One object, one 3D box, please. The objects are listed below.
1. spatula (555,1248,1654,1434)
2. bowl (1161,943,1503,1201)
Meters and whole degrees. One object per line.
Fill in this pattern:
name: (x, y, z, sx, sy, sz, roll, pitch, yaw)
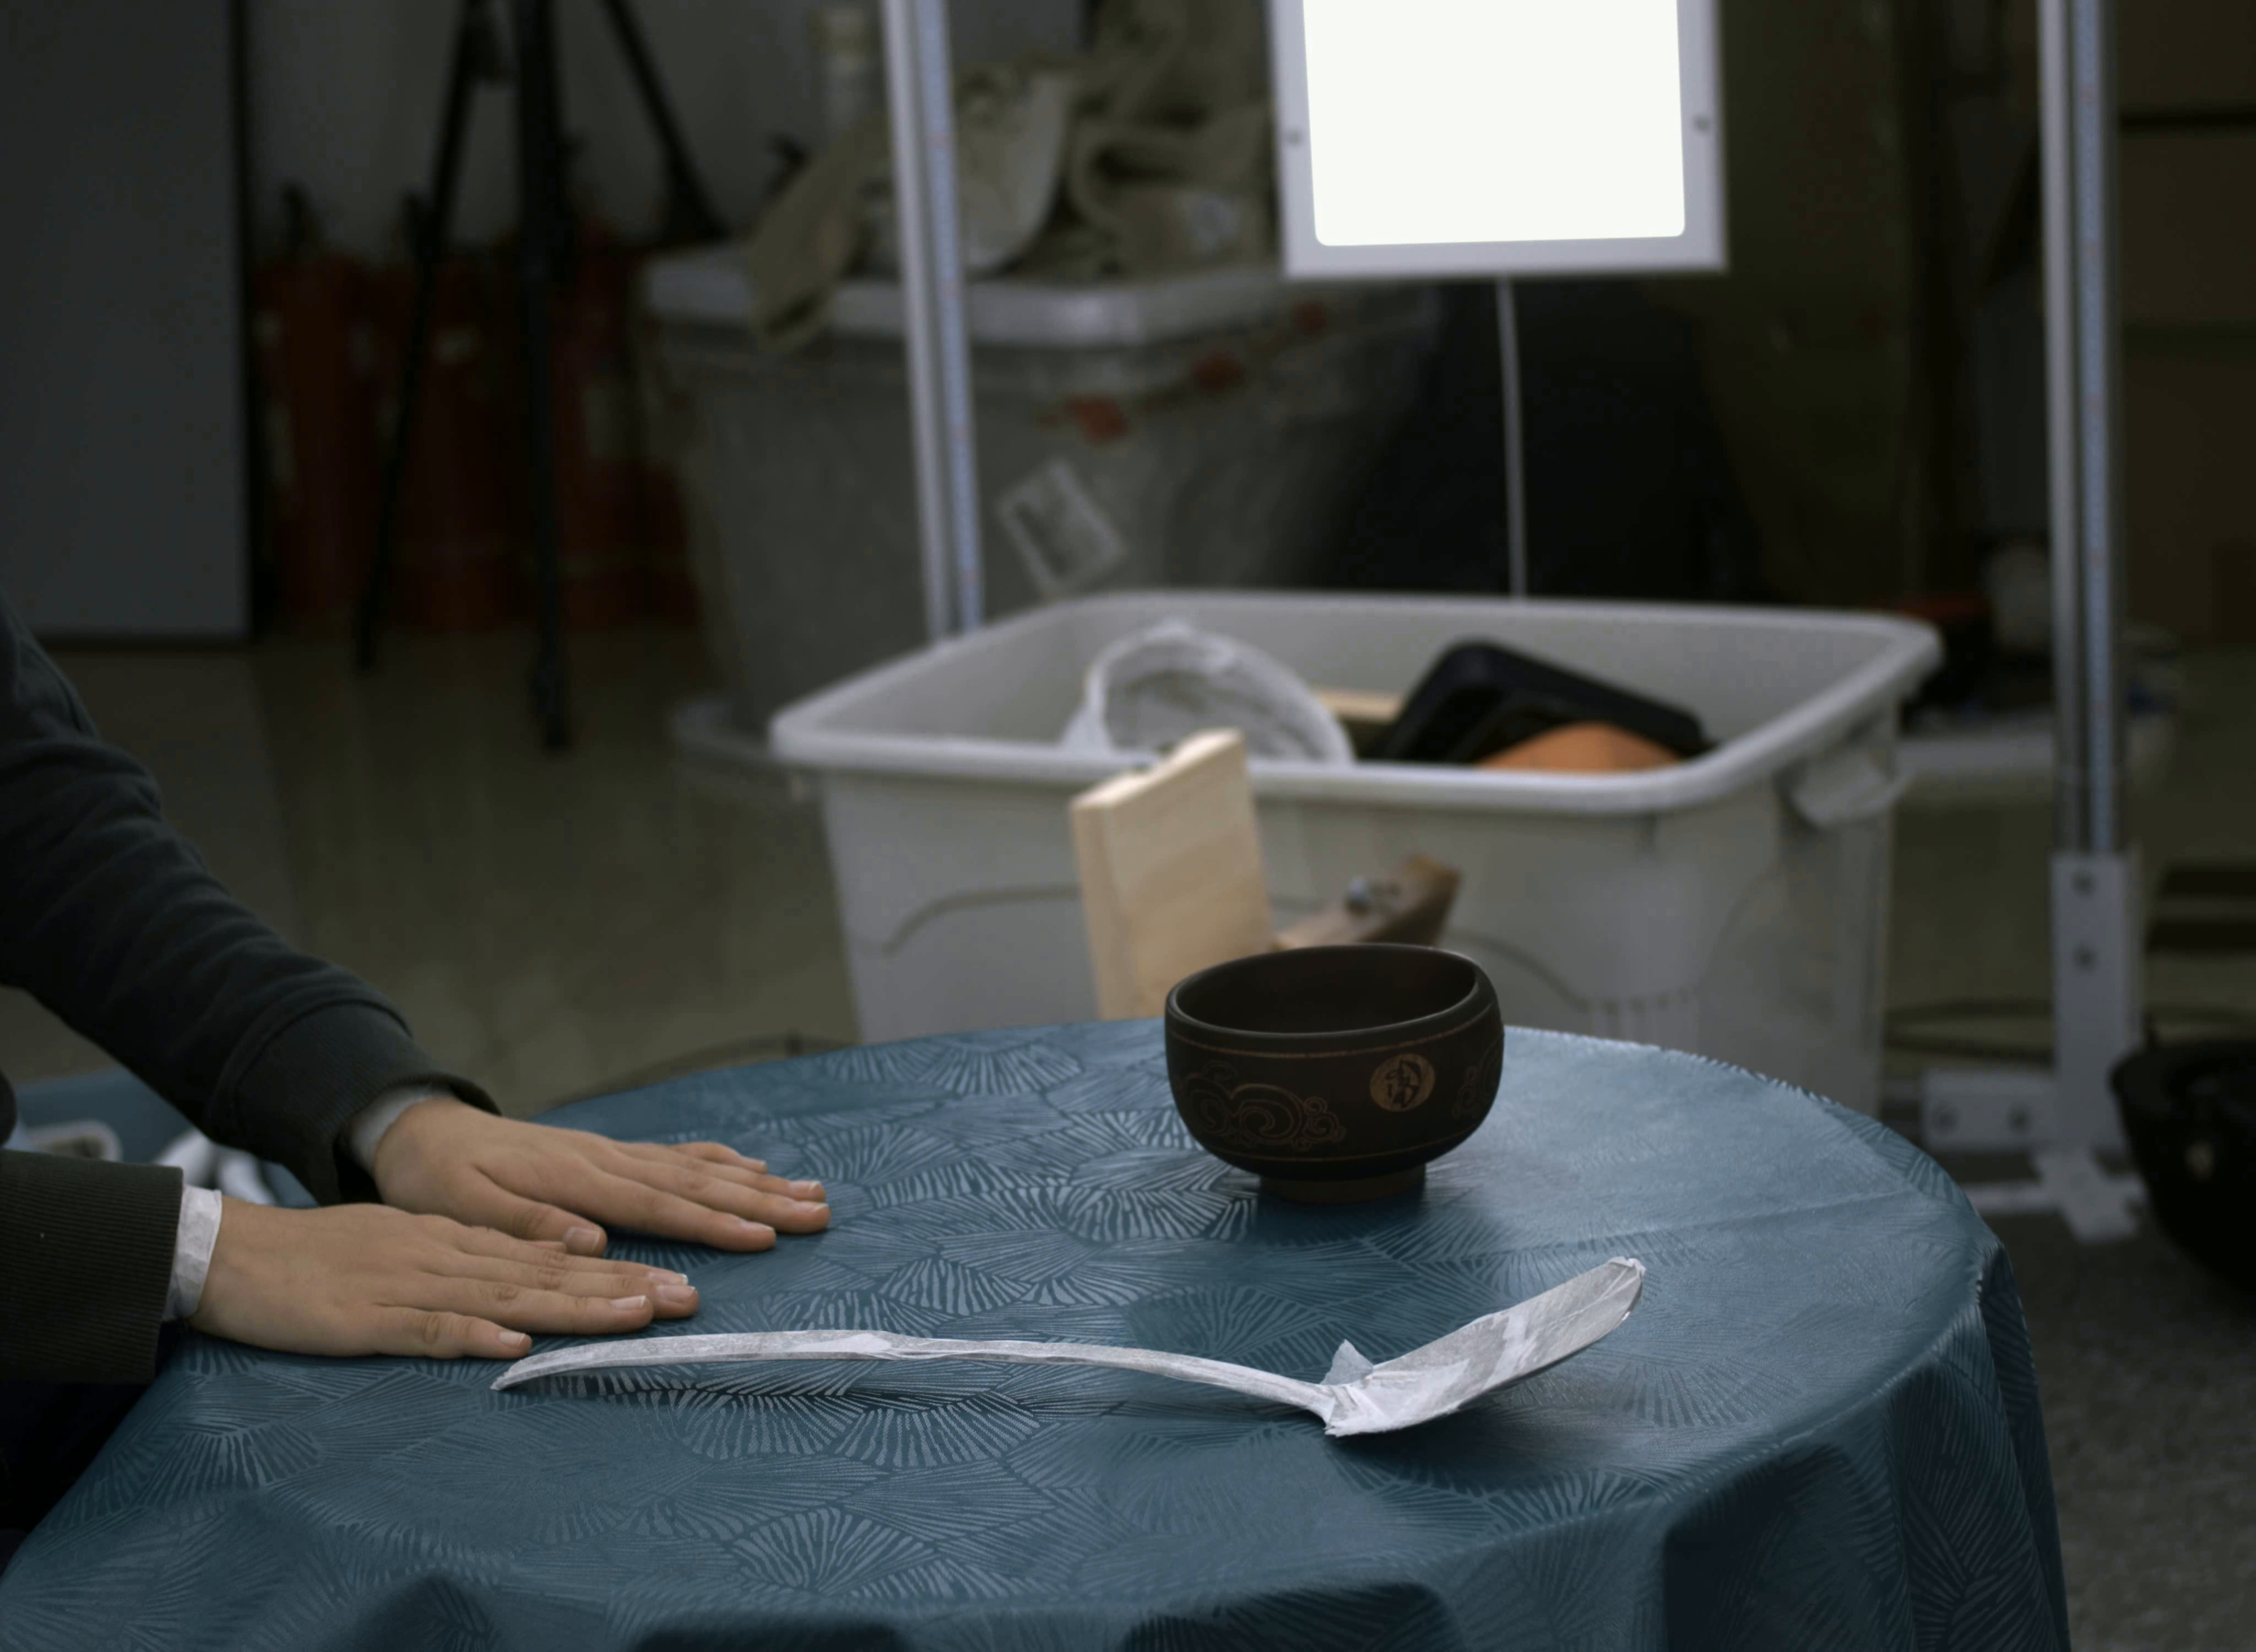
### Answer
spatula: (-0.017, 0.158, 1.695, 0.370, 0.045, 0.097, 1, 17, 21)
bowl: (0.071, 0.087, 1.883, 0.118, 0.070, 0.118, -6, 12, 0)
